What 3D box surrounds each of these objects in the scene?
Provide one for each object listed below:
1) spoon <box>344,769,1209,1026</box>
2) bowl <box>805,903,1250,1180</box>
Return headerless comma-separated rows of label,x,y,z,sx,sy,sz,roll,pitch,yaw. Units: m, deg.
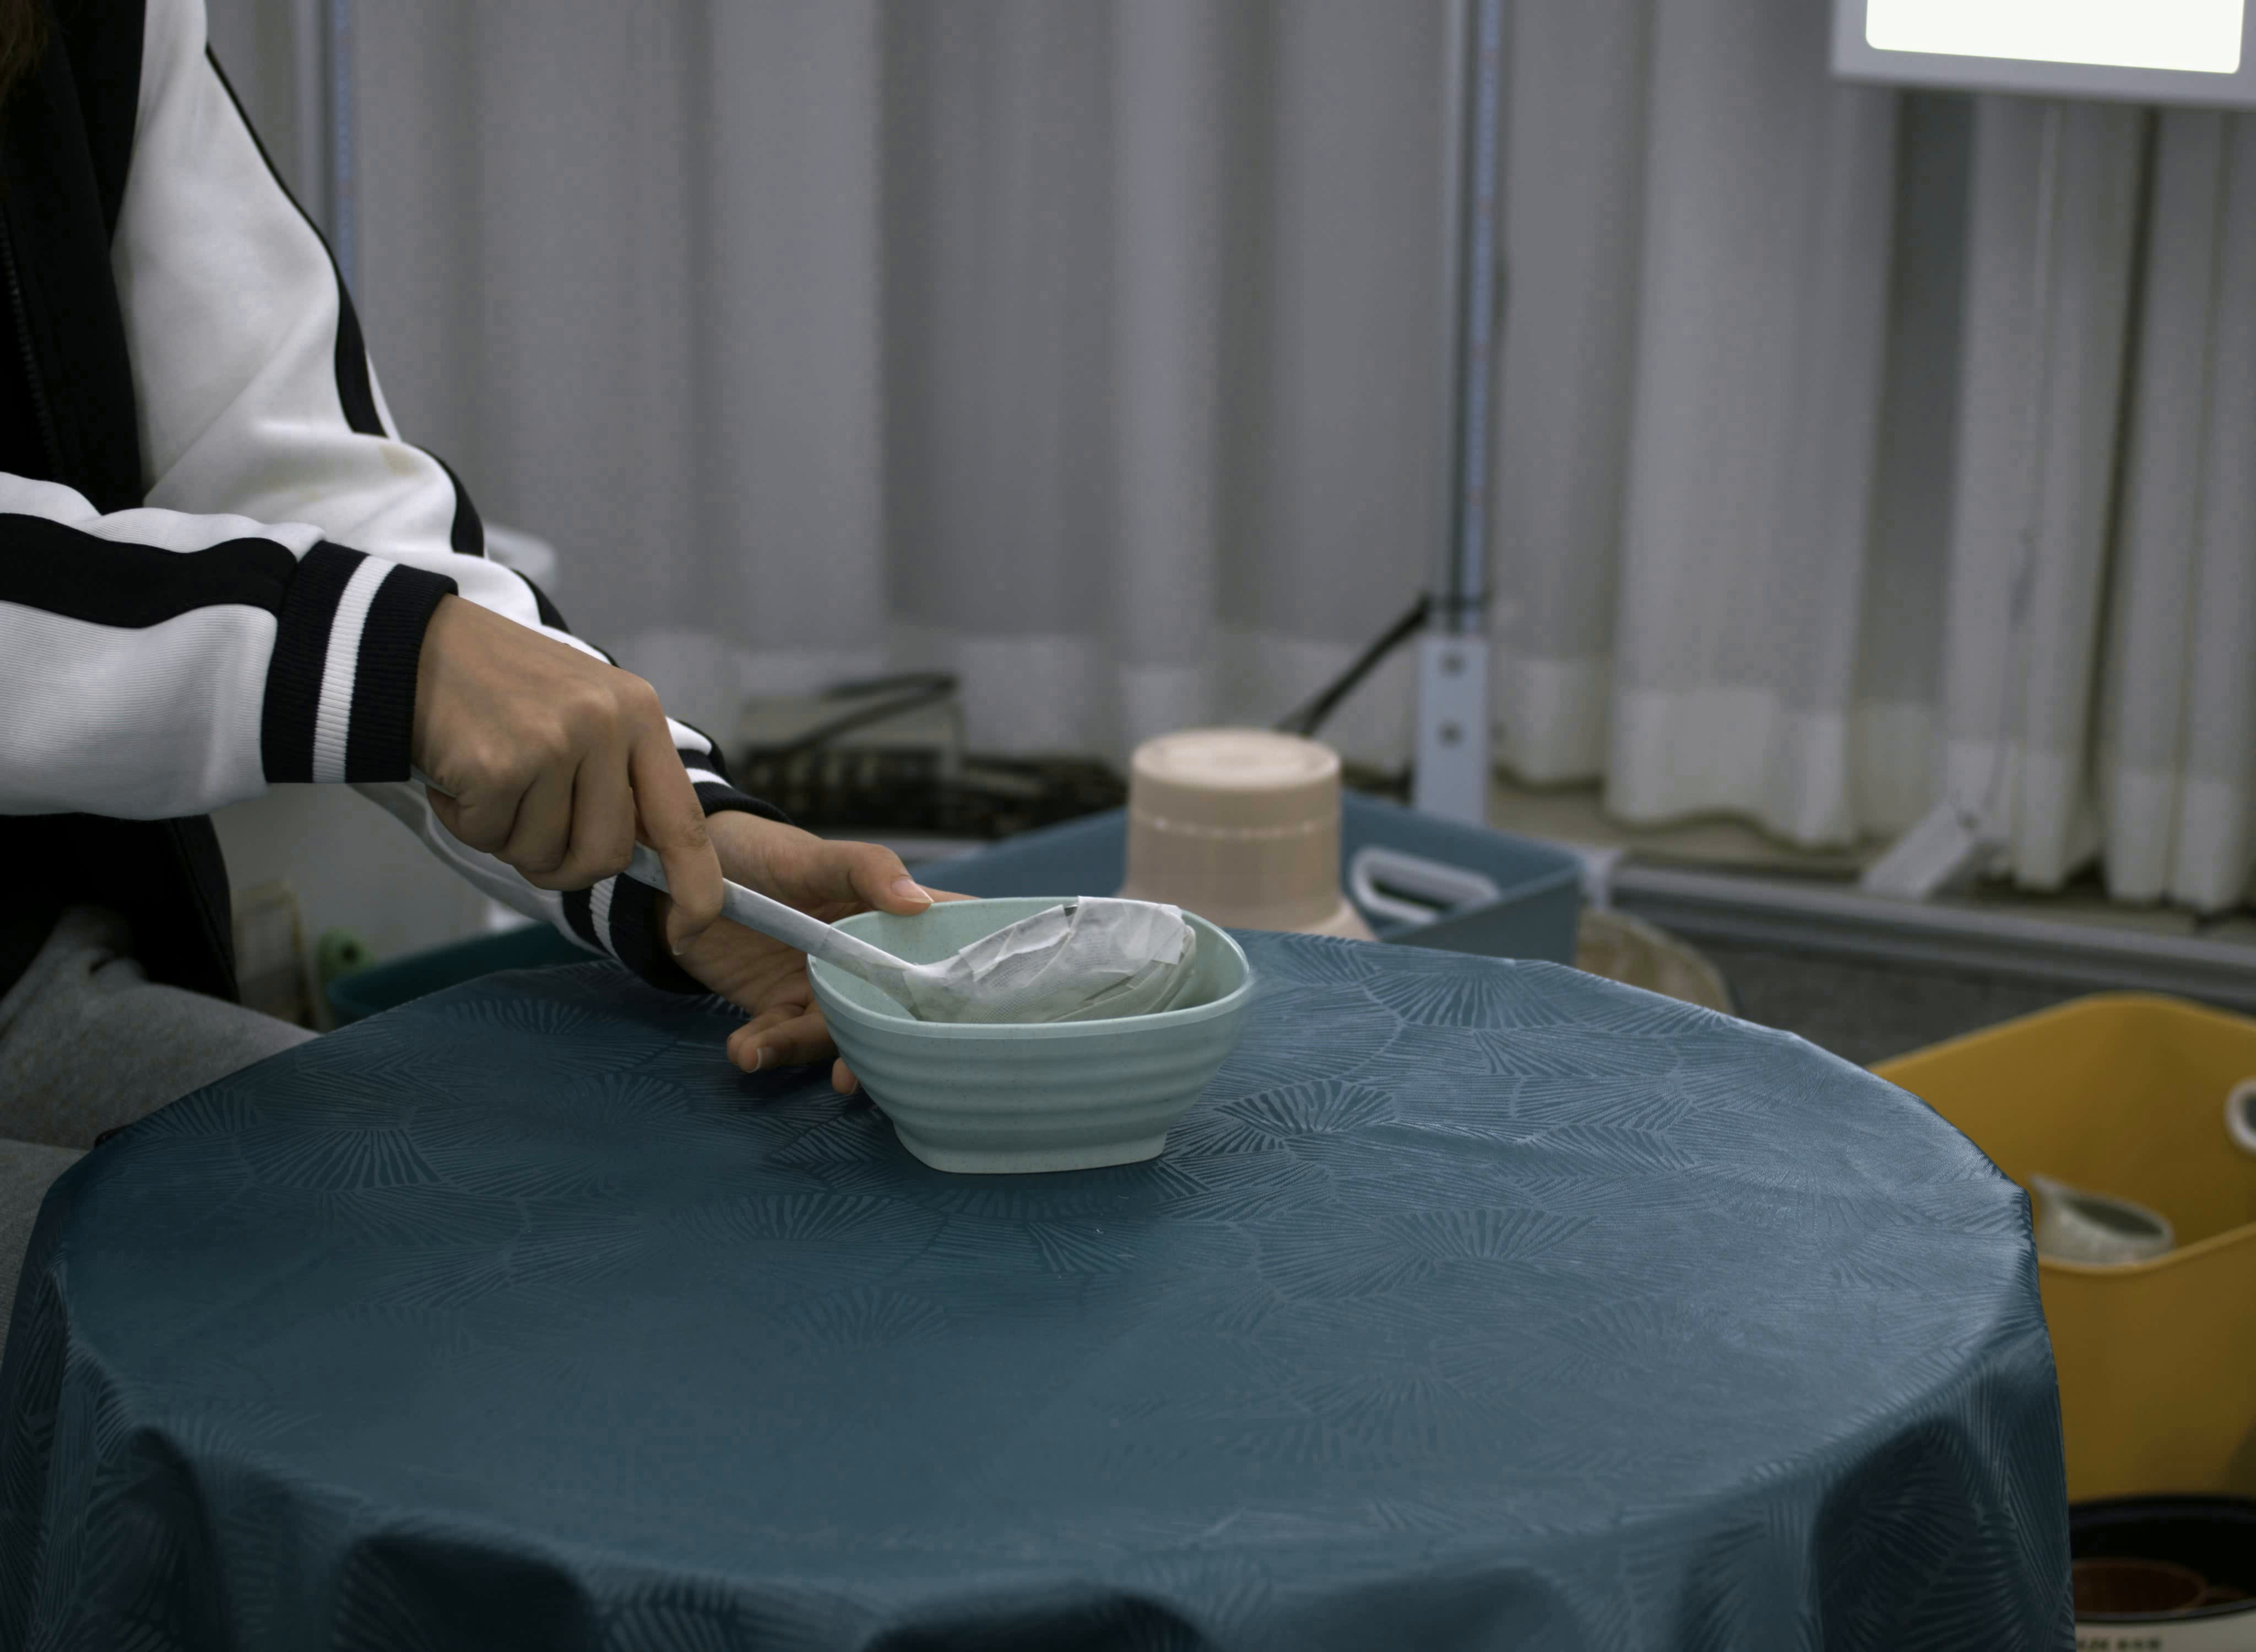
spoon,-0.112,0.020,1.677,0.277,0.101,0.059,20,43,-2
bowl,-0.032,0.071,1.669,0.151,0.059,0.150,1,16,0
